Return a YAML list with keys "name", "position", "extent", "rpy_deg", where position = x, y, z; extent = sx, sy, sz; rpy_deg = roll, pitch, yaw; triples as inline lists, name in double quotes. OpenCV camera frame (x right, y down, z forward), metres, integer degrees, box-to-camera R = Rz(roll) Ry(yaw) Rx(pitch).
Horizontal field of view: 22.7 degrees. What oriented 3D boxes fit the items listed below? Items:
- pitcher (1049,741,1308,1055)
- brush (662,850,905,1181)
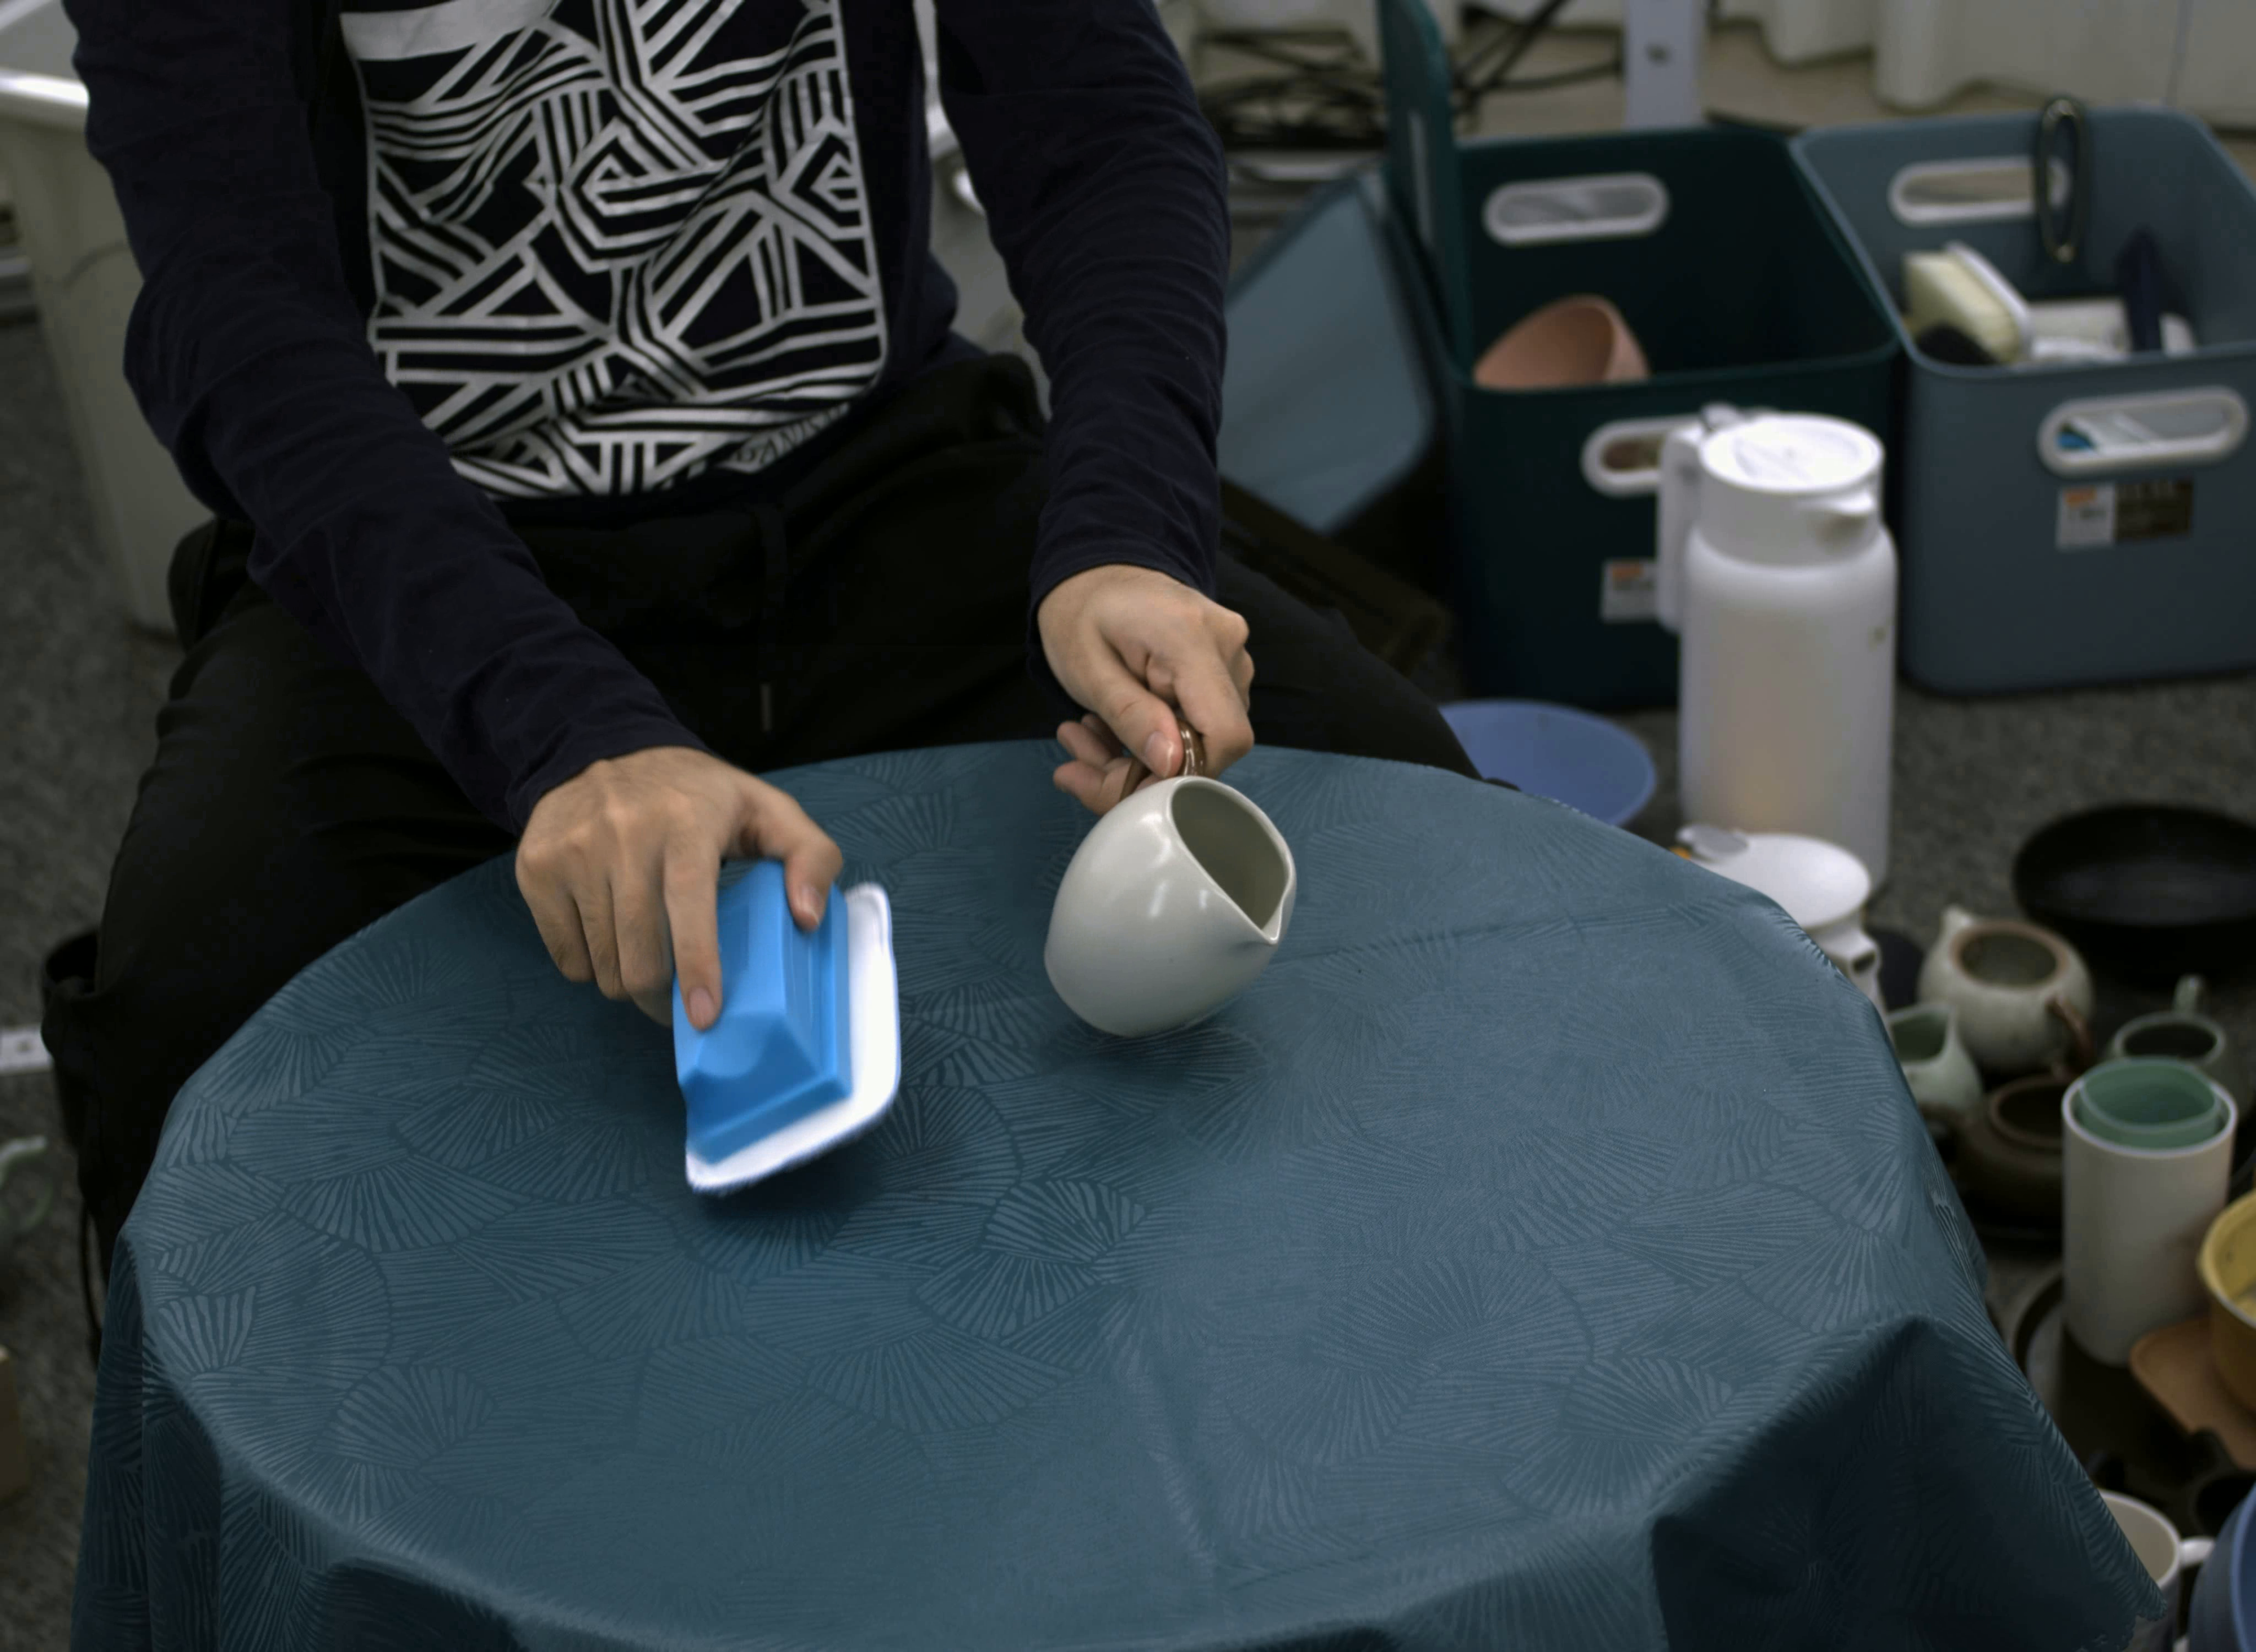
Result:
- name: "pitcher"
  position: [0.016, 0.031, 1.925]
  extent: [0.075, 0.086, 0.121]
  rpy_deg: [24, 41, -30]
- name: "brush"
  position: [-0.123, 0.058, 1.898]
  extent: [0.083, 0.055, 0.146]
  rpy_deg: [-23, 29, 14]
